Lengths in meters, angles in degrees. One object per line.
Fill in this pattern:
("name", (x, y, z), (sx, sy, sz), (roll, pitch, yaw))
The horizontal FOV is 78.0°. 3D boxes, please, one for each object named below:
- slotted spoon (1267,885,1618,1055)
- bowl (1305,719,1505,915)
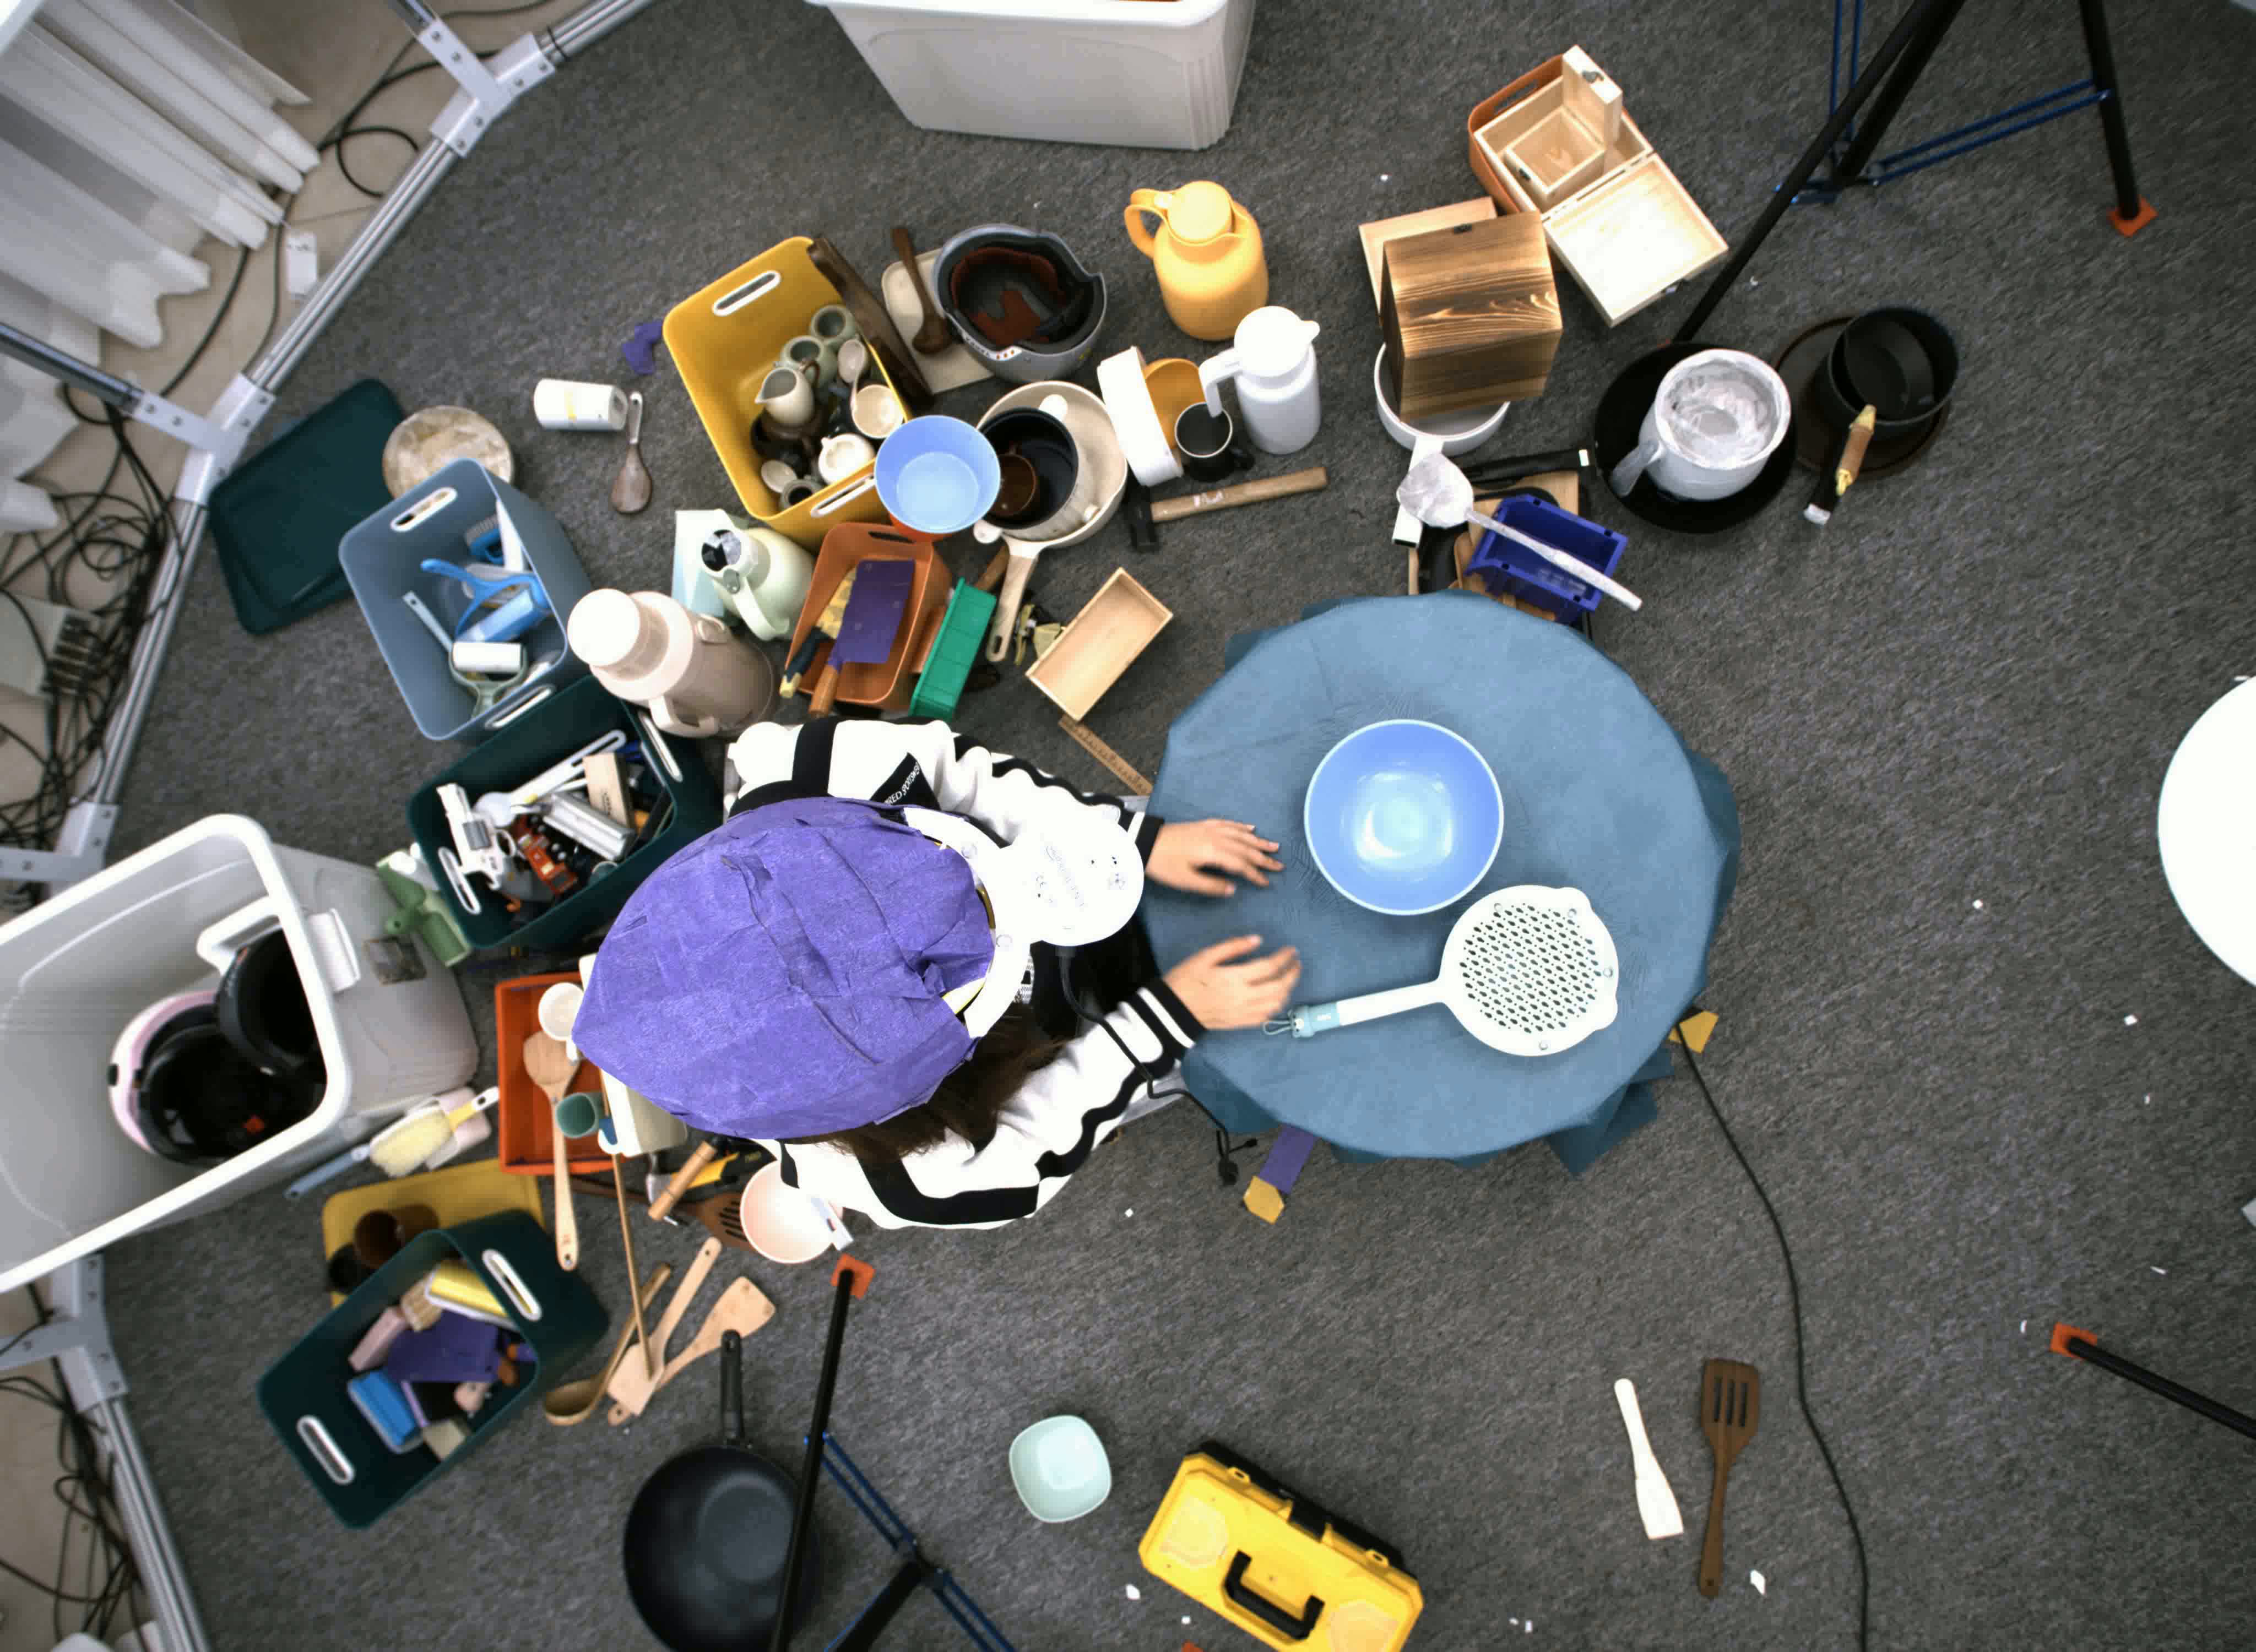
("slotted spoon", (0.314, 0.167, 1.418), (0.361, 0.075, 0.168), (-14, 83, 11))
("bowl", (0.282, -0.006, 1.414), (0.197, 0.095, 0.195), (-1, 87, 10))
